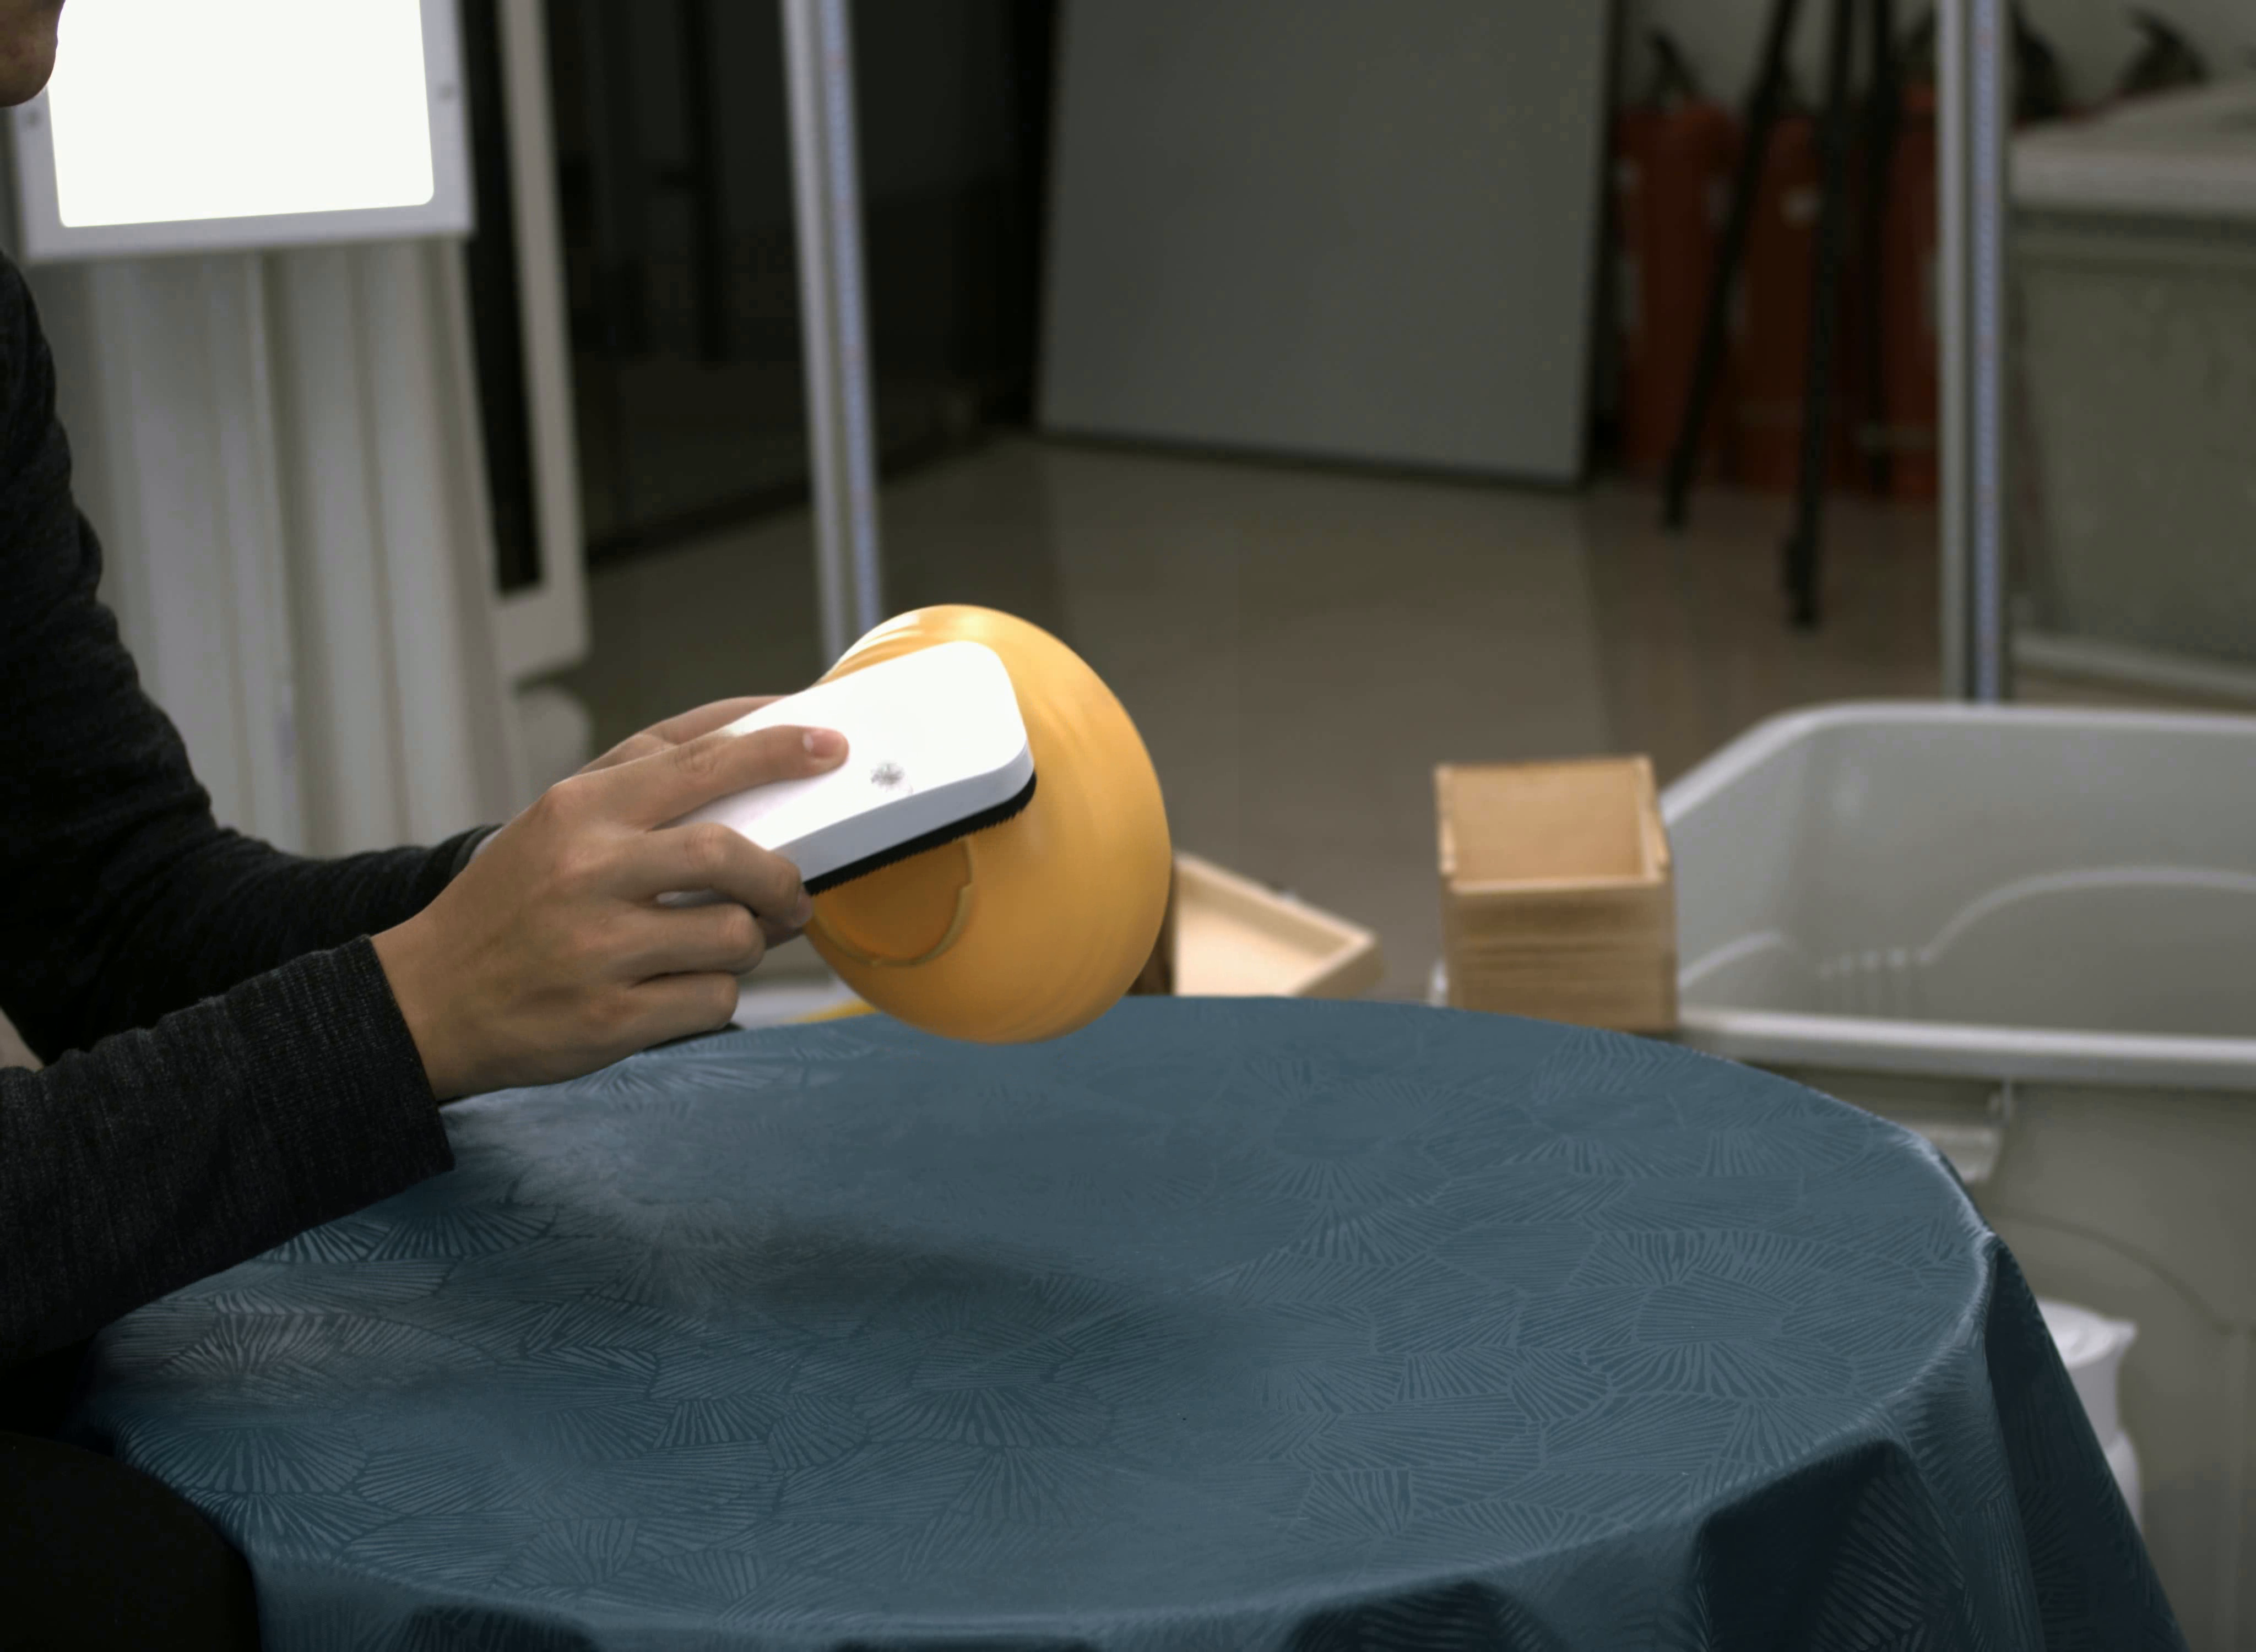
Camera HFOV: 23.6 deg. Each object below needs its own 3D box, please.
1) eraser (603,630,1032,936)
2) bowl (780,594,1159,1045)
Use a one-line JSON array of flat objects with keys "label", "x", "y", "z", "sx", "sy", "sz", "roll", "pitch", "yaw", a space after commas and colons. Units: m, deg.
[{"label": "eraser", "x": -0.094, "y": -0.015, "z": 1.637, "sx": 0.130, "sy": 0.034, "sz": 0.064, "roll": -22, "pitch": 43, "yaw": 2}, {"label": "bowl", "x": -0.064, "y": 0.005, "z": 1.694, "sx": 0.146, "sy": 0.147, "sz": 0.059, "roll": 6, "pitch": 16, "yaw": 35}]
